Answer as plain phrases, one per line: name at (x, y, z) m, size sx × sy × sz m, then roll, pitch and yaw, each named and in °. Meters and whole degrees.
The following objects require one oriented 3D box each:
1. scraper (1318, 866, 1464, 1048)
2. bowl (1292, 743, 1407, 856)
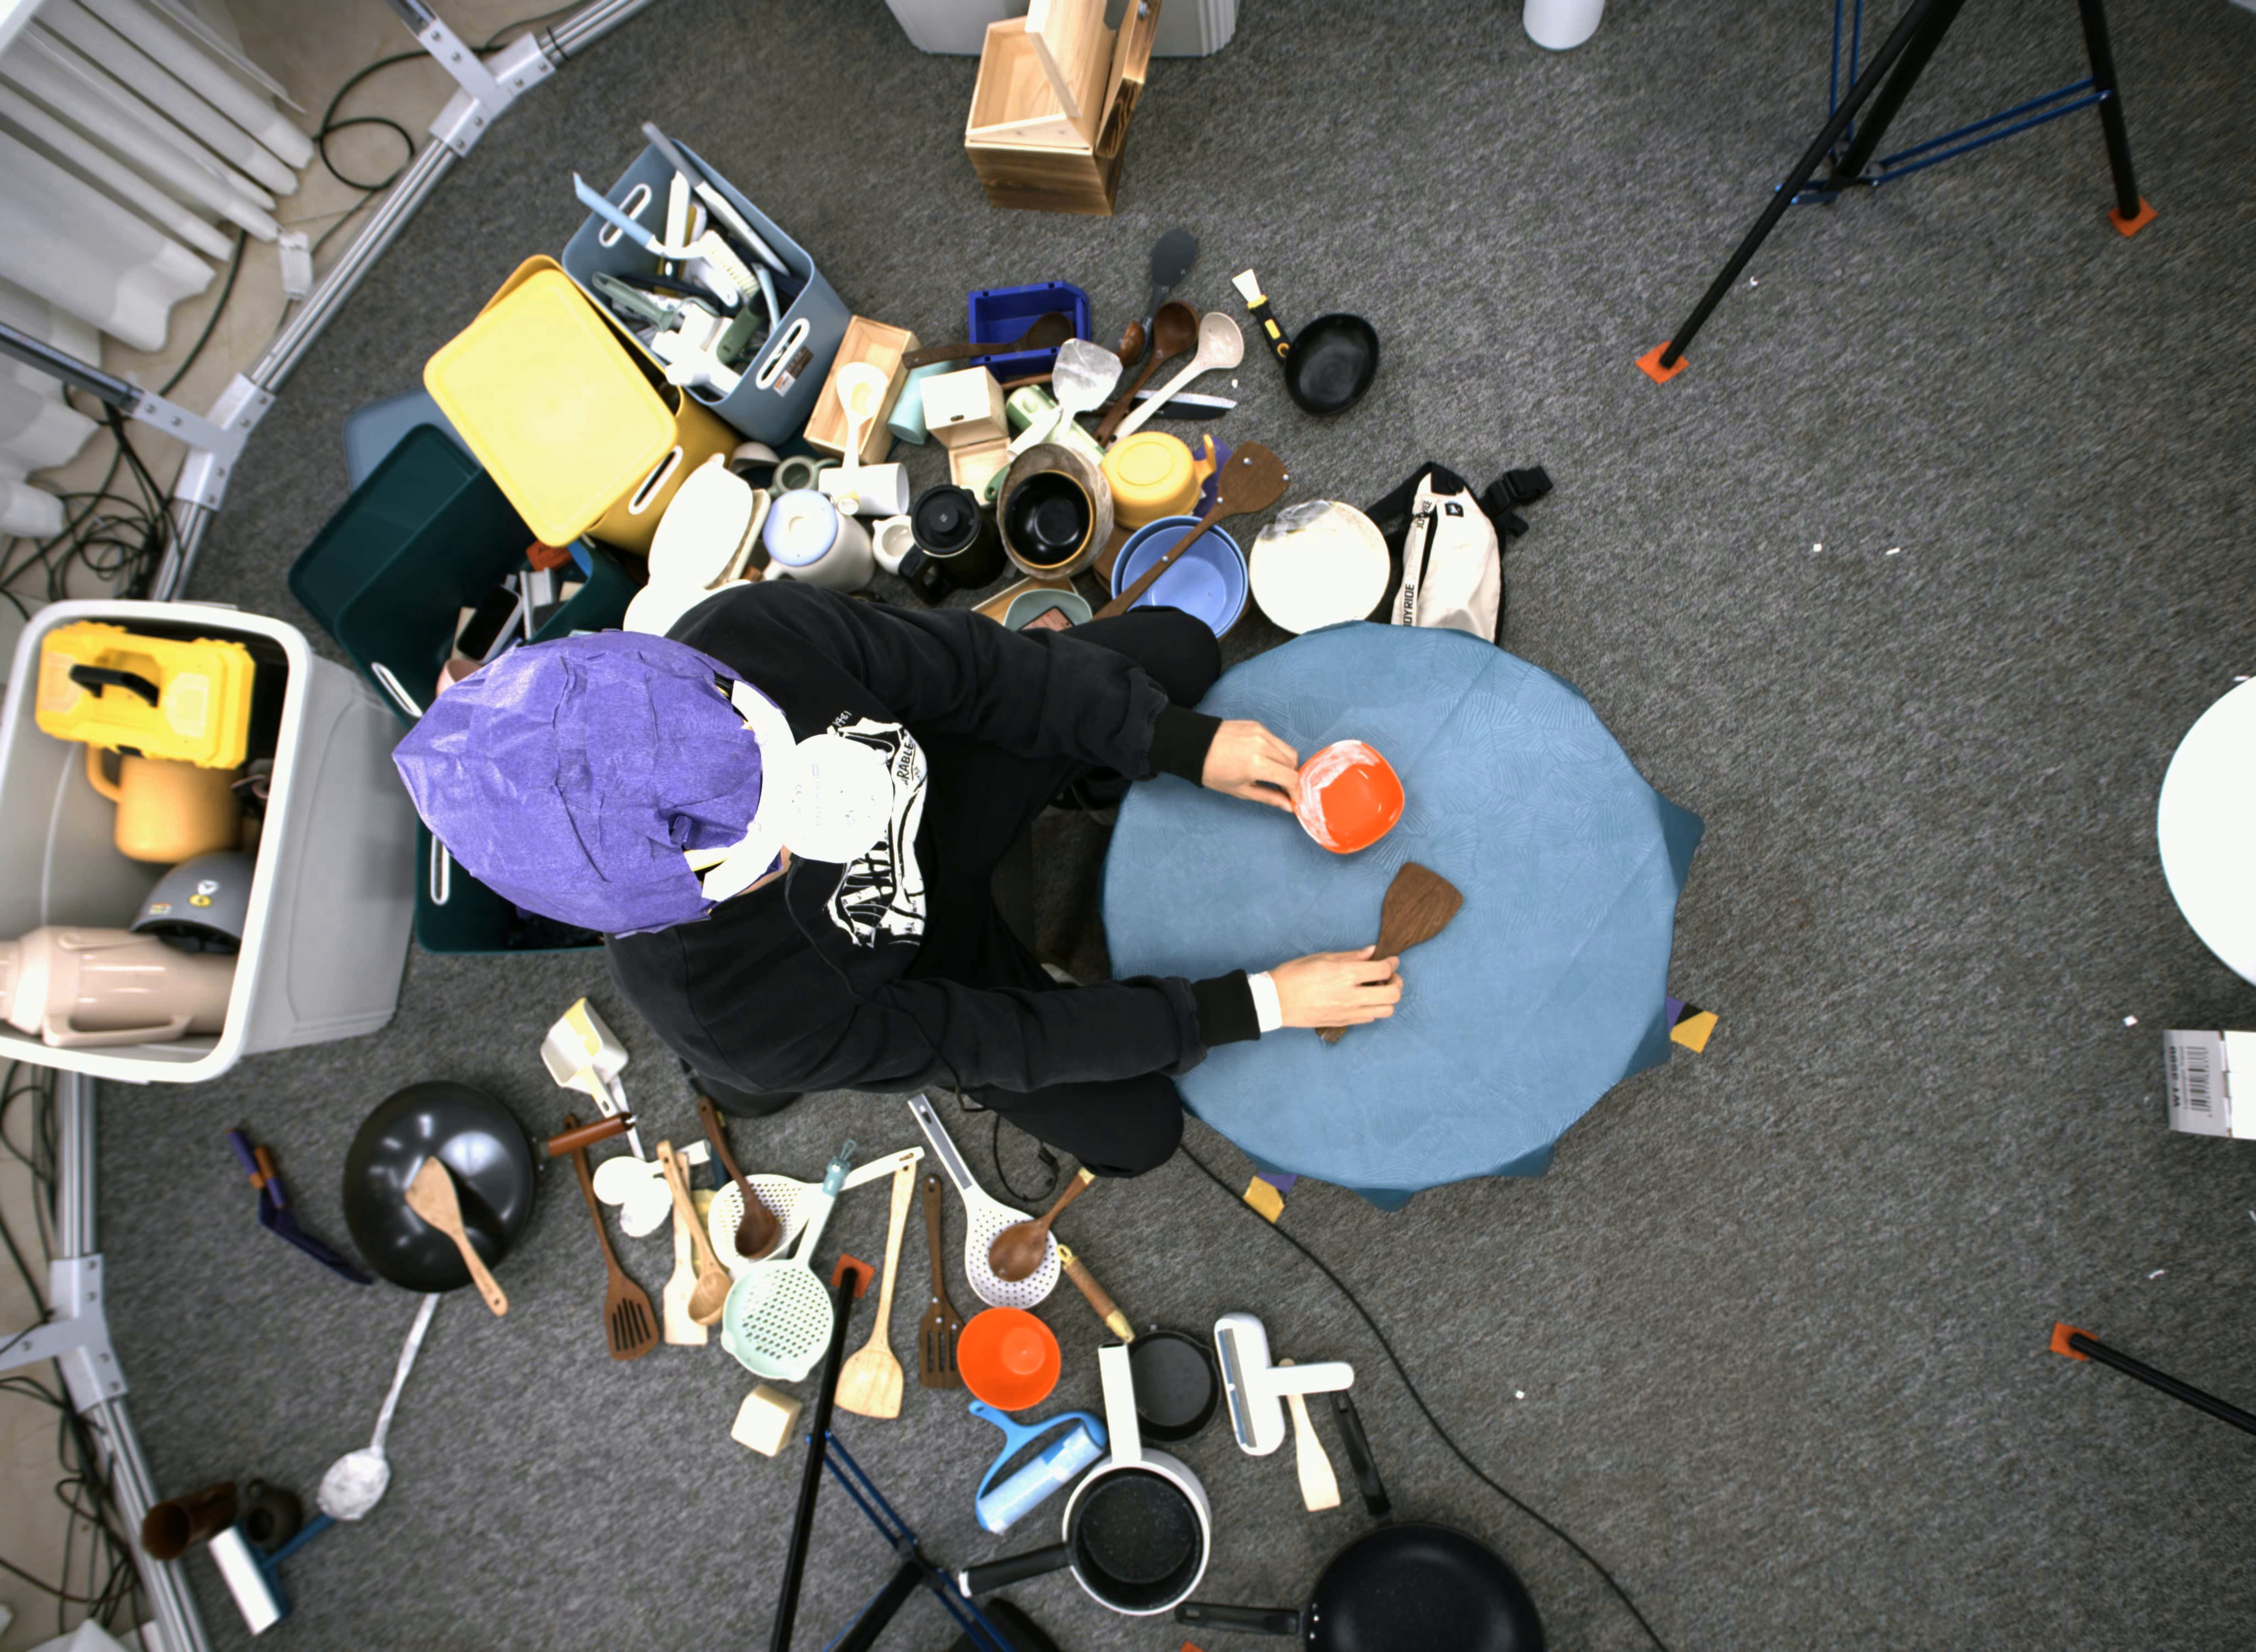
scraper at (0.267, 0.140, 1.450) m, size 0.075 × 0.011 × 0.211 m, roll 35°, pitch 90°, yaw 16°
bowl at (0.232, -0.027, 1.453) m, size 0.119 × 0.051 × 0.118 m, roll -1°, pitch 87°, yaw 8°
